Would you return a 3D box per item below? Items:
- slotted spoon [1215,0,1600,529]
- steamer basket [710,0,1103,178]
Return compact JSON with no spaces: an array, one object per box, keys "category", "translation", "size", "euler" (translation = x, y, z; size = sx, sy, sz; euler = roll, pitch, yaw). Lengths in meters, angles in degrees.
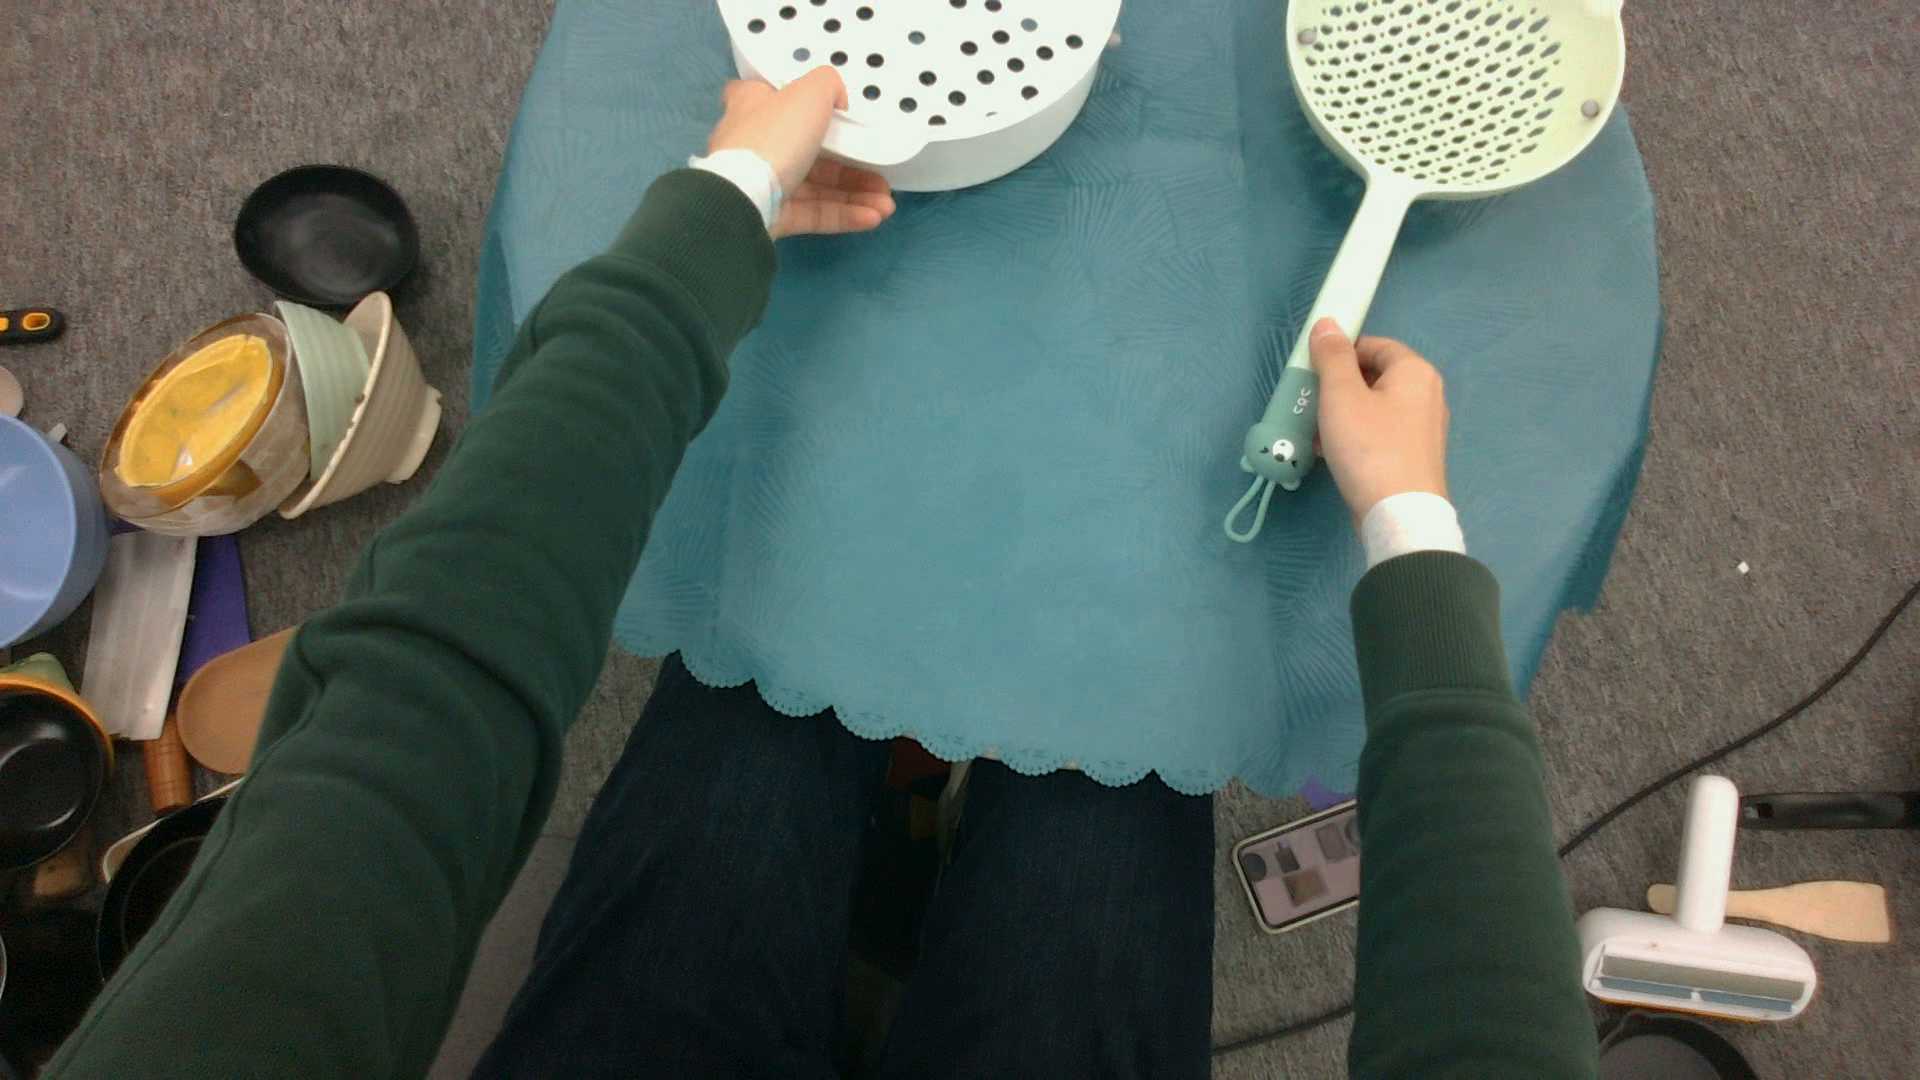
[{"category":"slotted spoon","translation":[0.200,-0.168,0.681],"size":[0.169,0.075,0.360],"euler":[23,67,7]},{"category":"steamer basket","translation":[-0.028,-0.284,0.709],"size":[0.202,0.069,0.231],"euler":[17,73,3]}]
